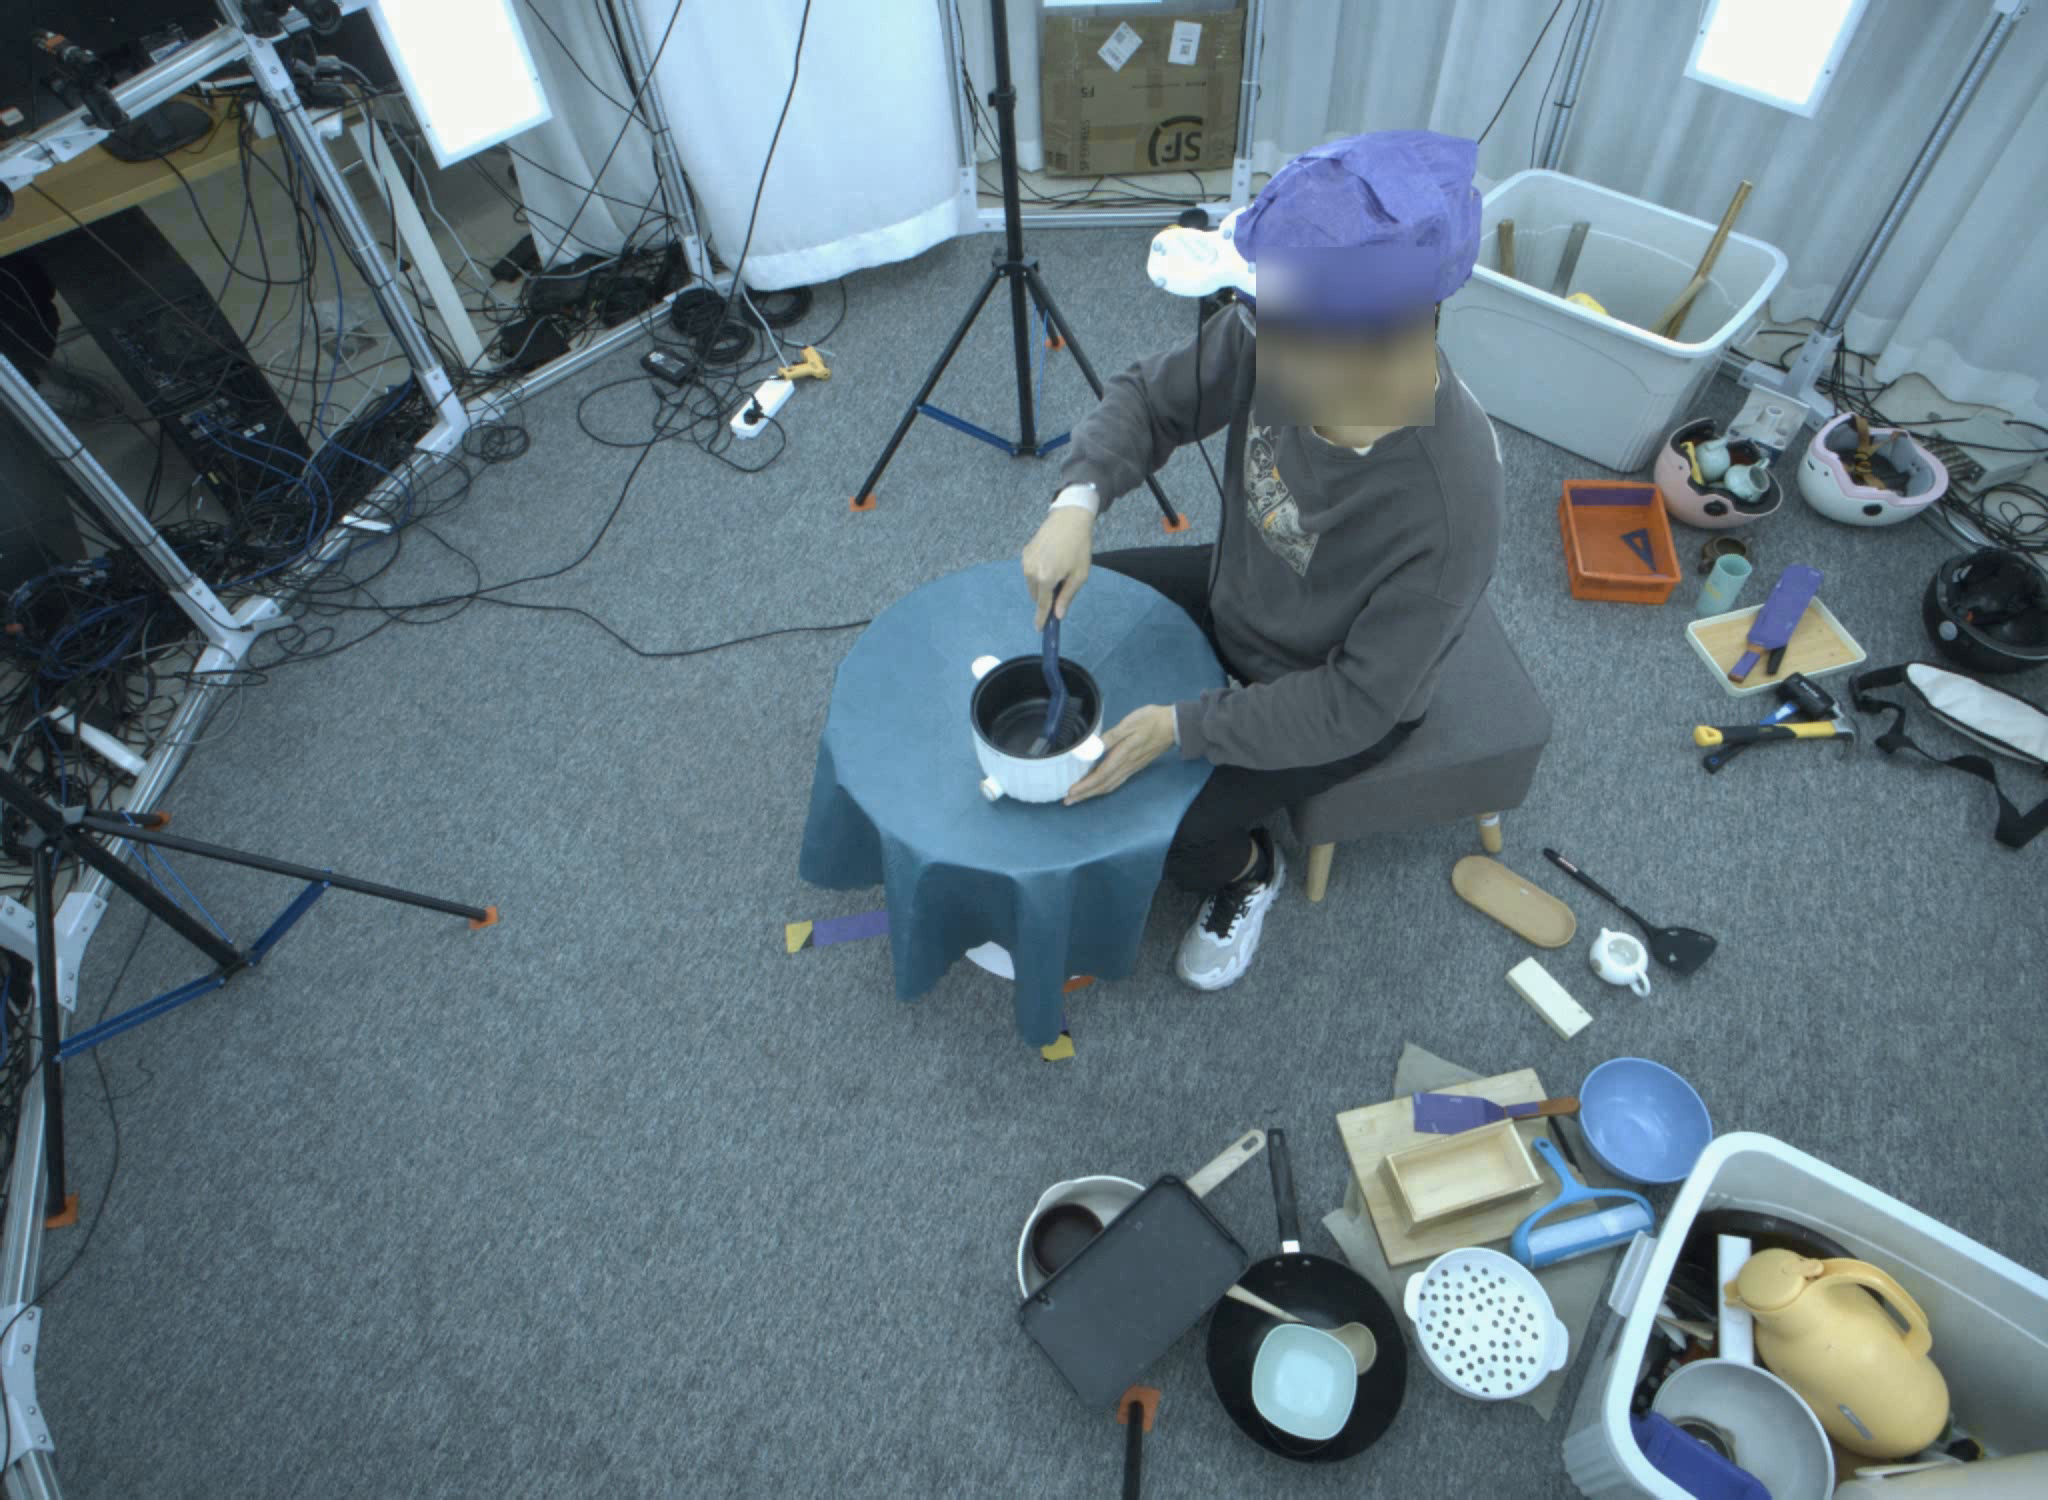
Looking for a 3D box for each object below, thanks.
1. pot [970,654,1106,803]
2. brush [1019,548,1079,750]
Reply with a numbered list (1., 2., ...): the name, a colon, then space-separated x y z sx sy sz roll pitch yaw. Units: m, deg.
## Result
1. pot: 0.017 -0.019 1.711 0.192 0.144 0.236 -37 59 -26
2. brush: 0.032 -0.132 1.655 0.097 0.275 0.033 -13 18 -32
